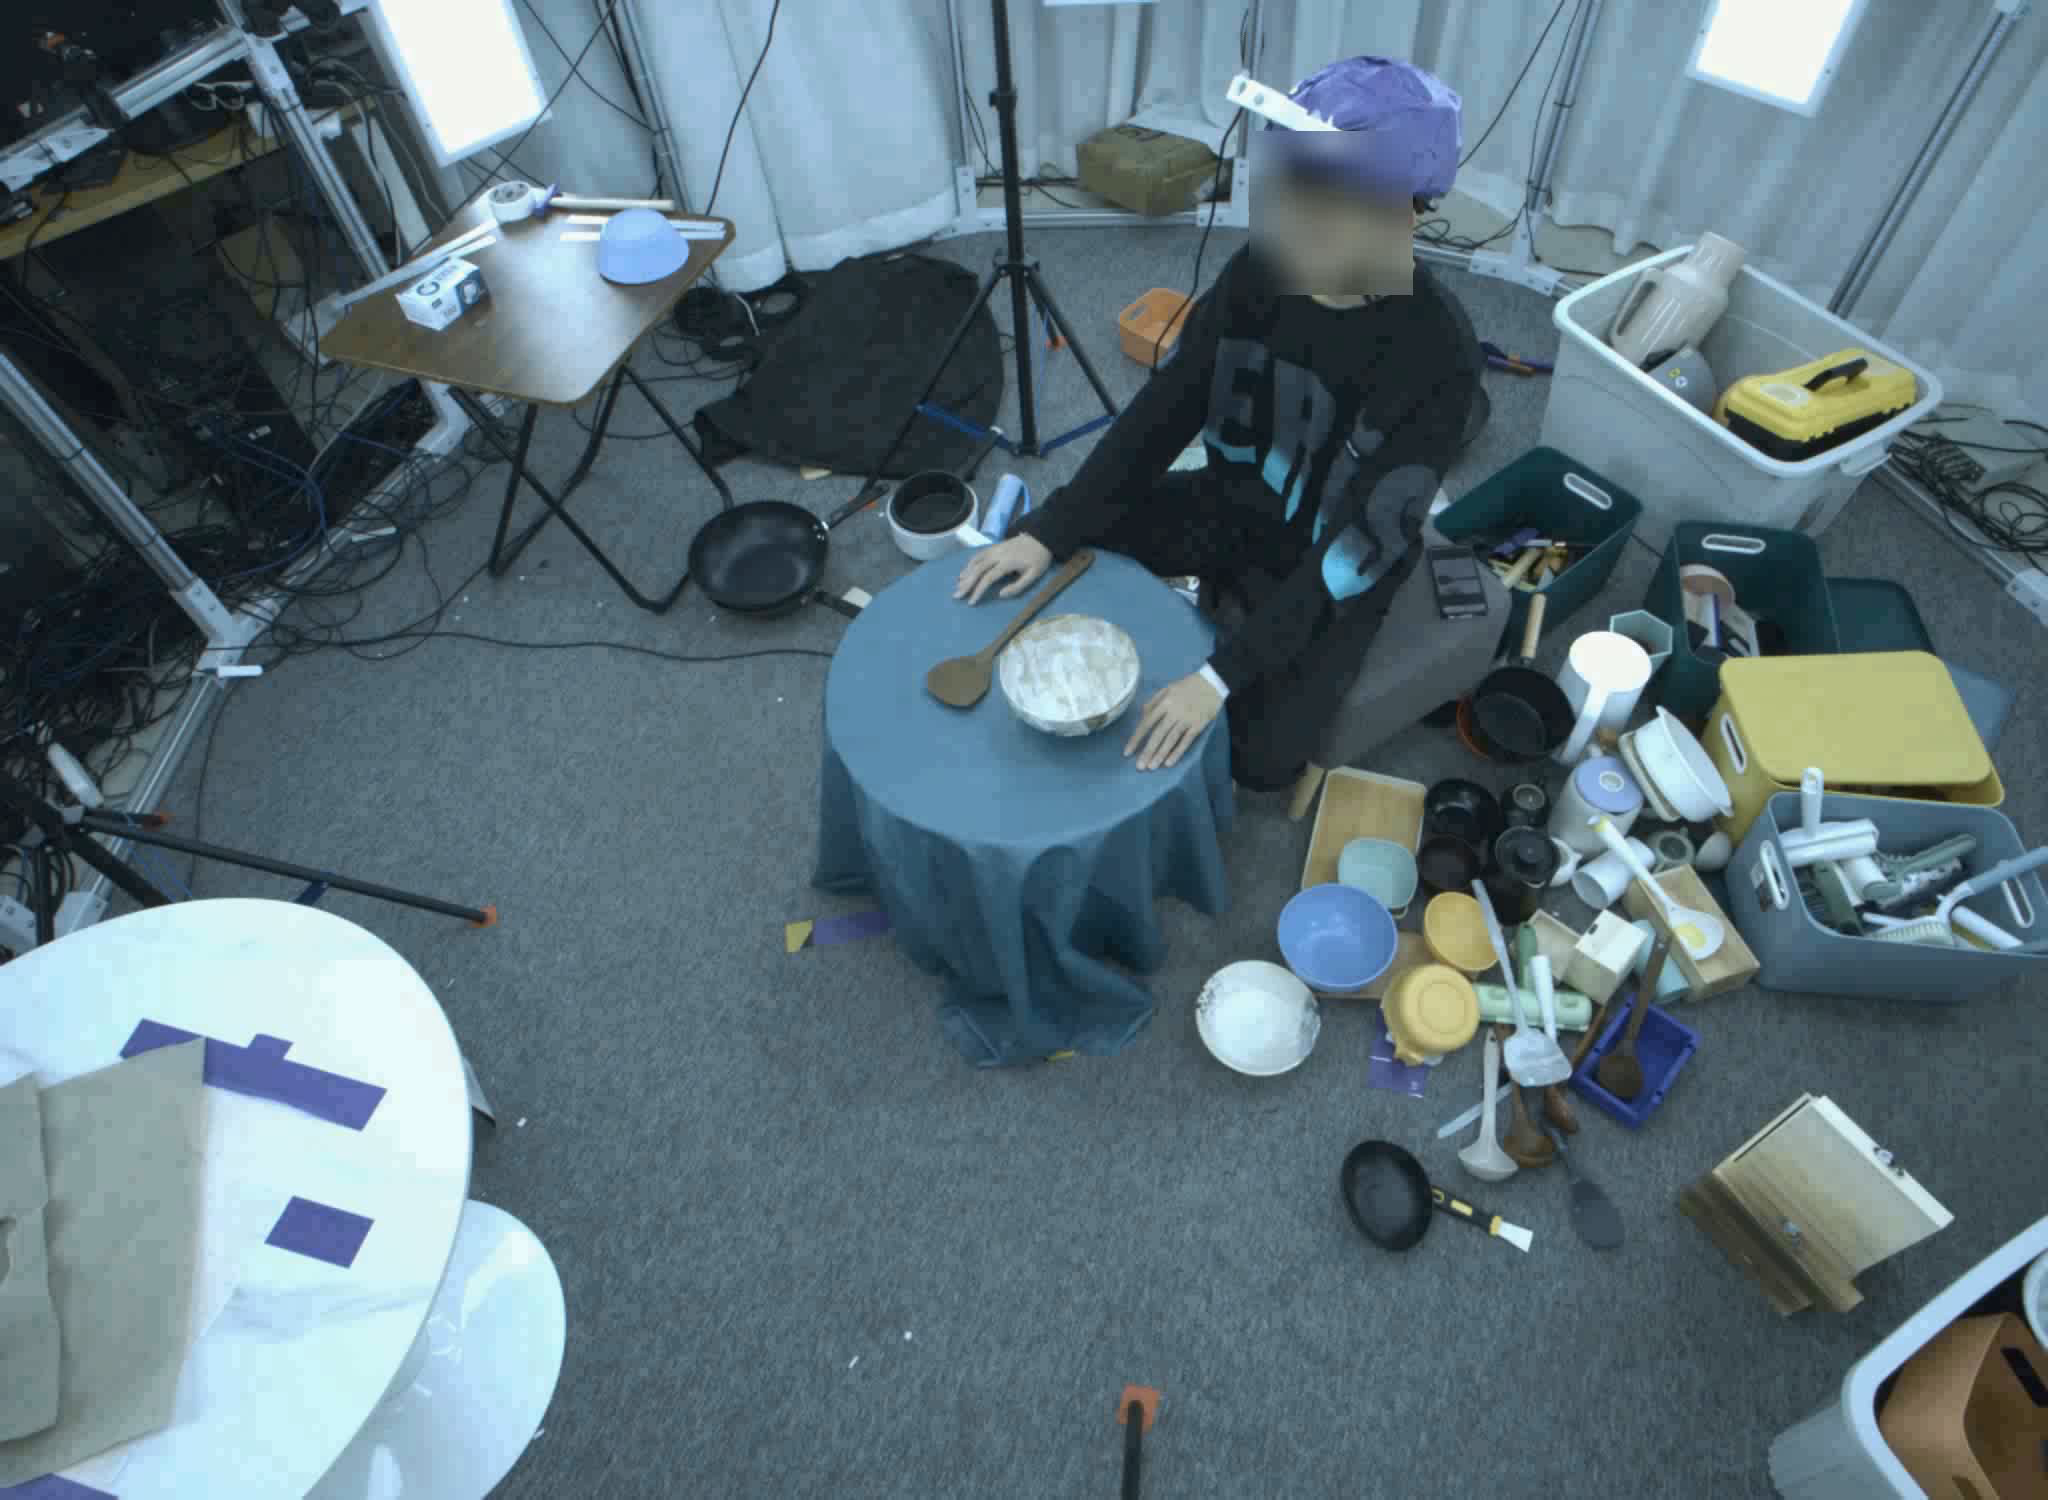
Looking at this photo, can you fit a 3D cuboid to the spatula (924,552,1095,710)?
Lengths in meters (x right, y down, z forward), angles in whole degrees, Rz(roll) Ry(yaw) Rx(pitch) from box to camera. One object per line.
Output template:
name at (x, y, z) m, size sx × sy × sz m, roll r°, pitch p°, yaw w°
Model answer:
spatula at (-0.007, -0.197, 1.928) m, size 0.094 × 0.016 × 0.388 m, roll 32°, pitch 61°, yaw 21°

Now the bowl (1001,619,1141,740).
bowl at (0.073, -0.090, 1.802) m, size 0.214 × 0.095 × 0.212 m, roll 0°, pitch 53°, yaw 2°
